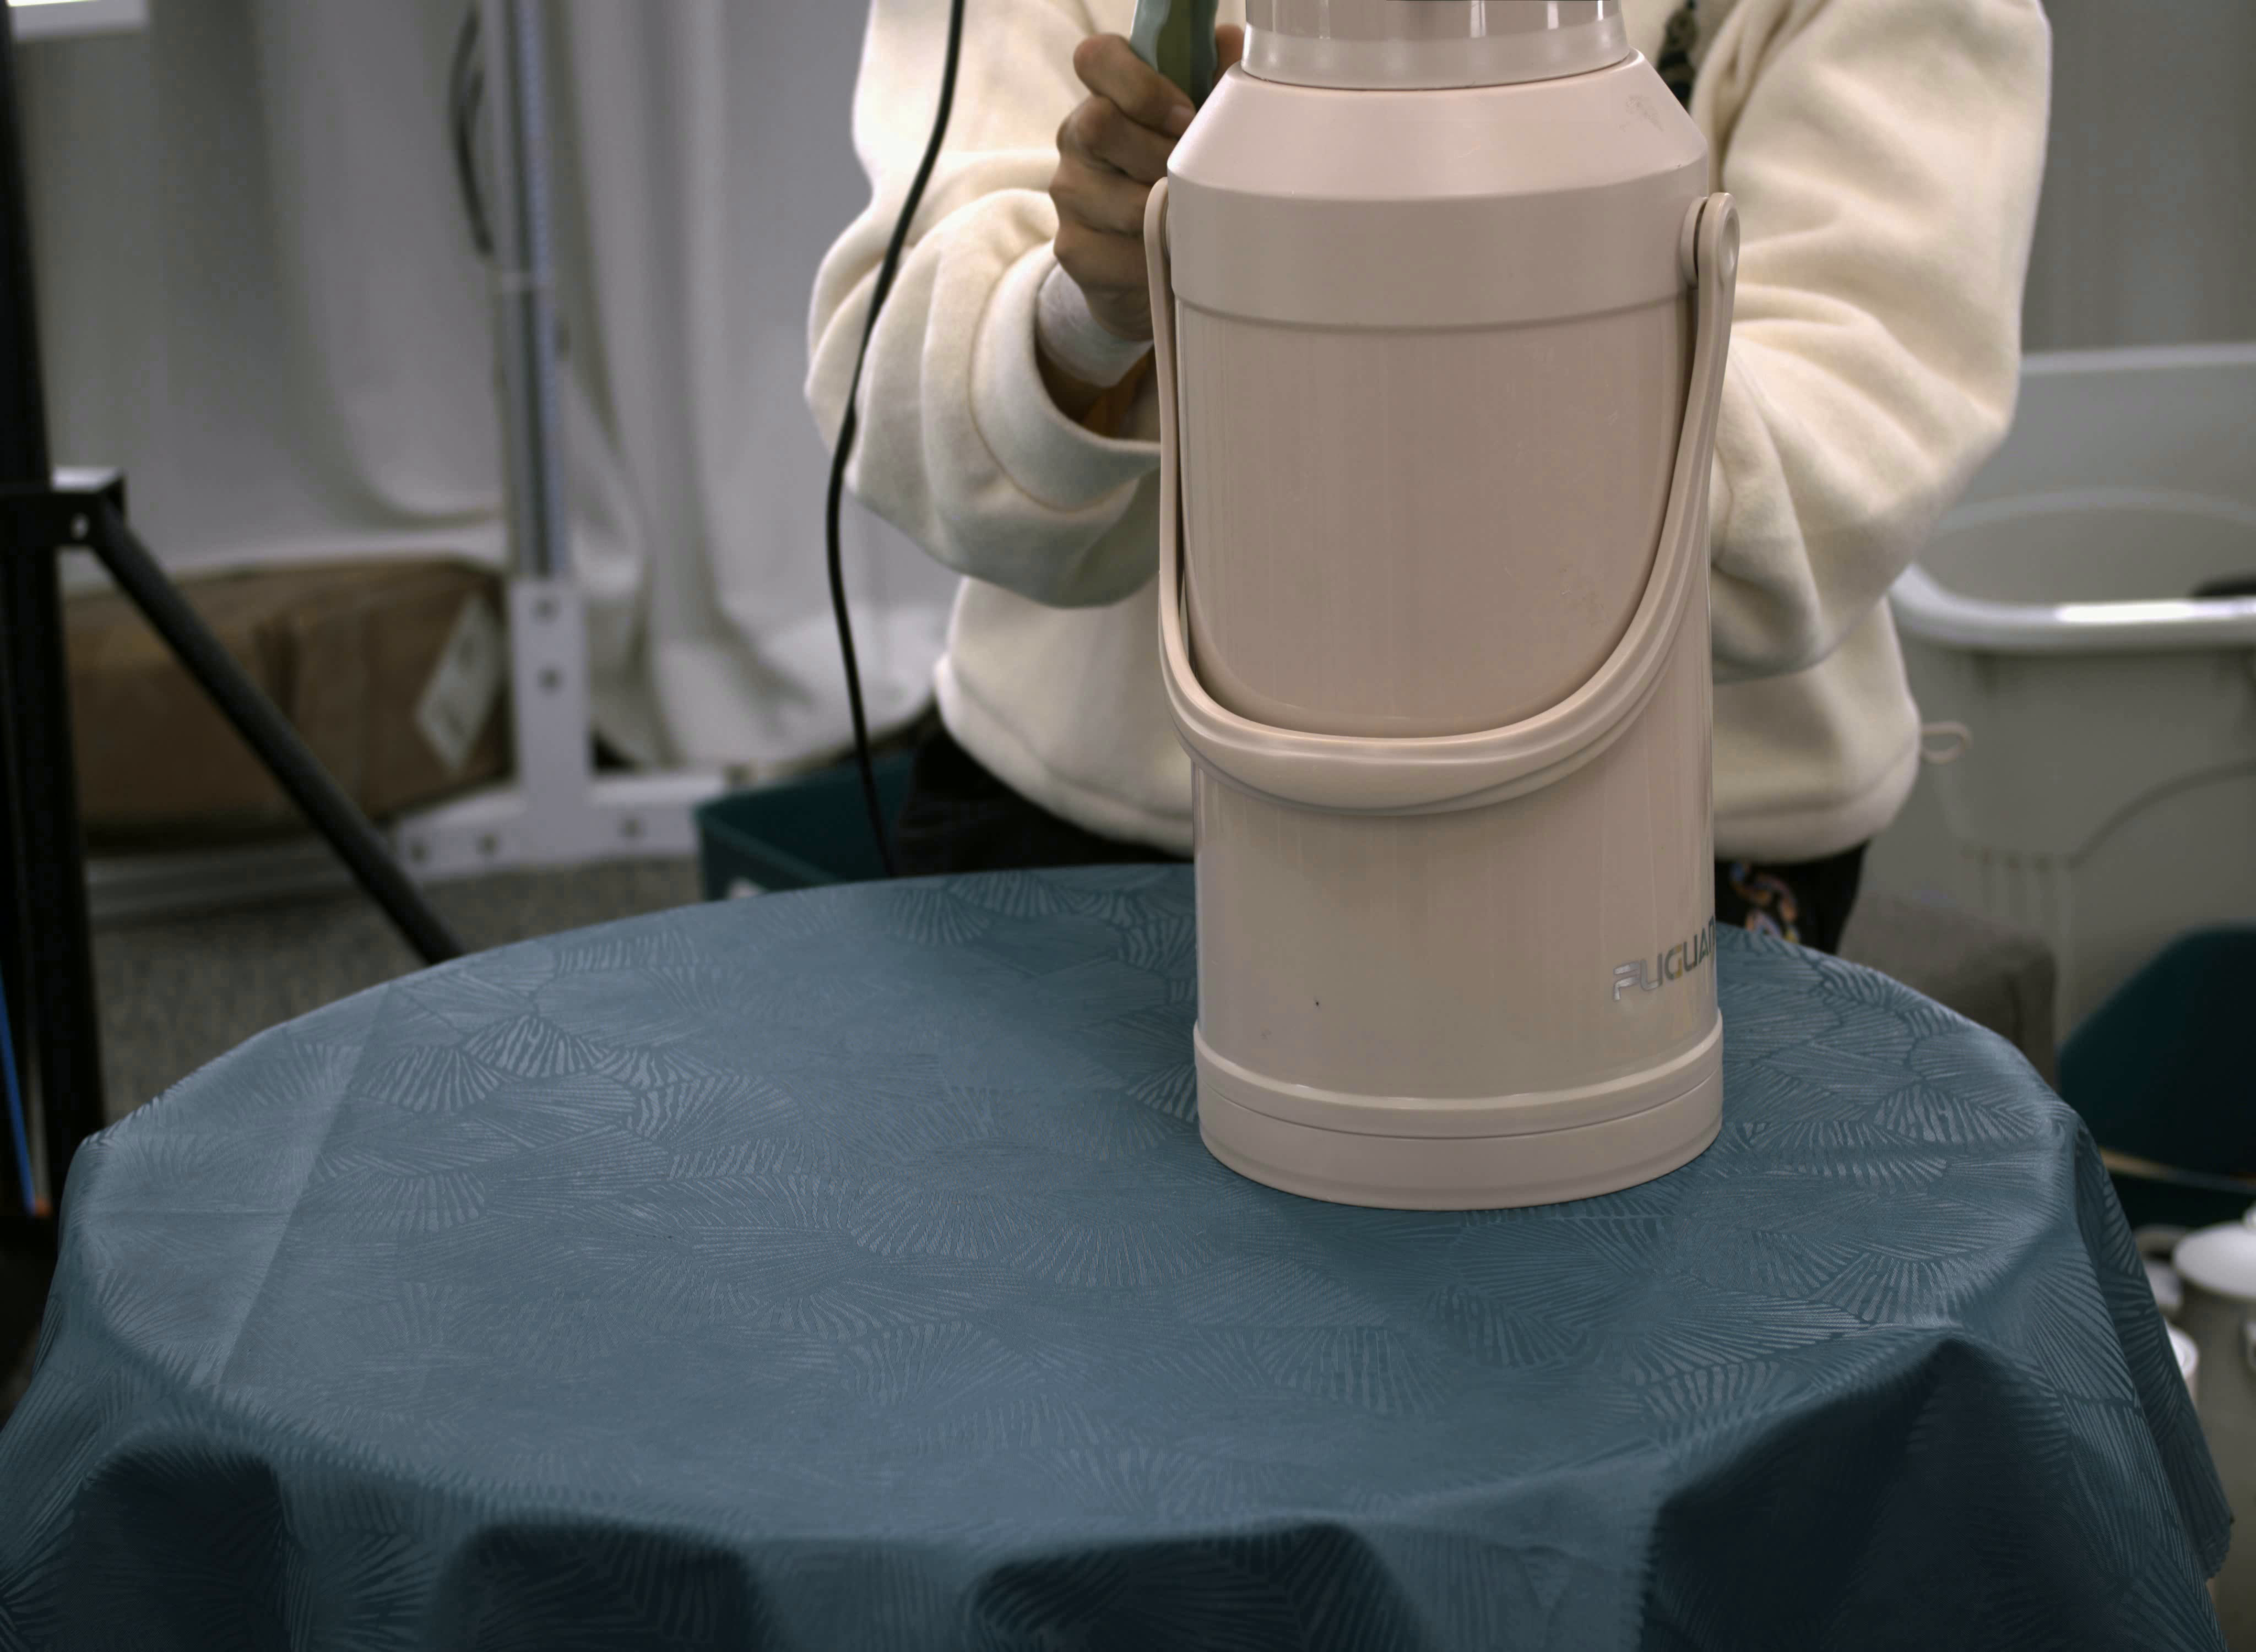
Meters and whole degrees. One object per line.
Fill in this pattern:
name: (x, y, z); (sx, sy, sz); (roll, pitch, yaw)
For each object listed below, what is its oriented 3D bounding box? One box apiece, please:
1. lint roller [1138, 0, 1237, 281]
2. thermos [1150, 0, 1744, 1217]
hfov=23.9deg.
lint roller: (0.031, -0.248, 1.626); (0.114, 0.198, 0.049); (-20, 60, -28)
thermos: (0.098, -0.103, 1.563); (0.178, 0.406, 0.204); (4, 16, 23)
